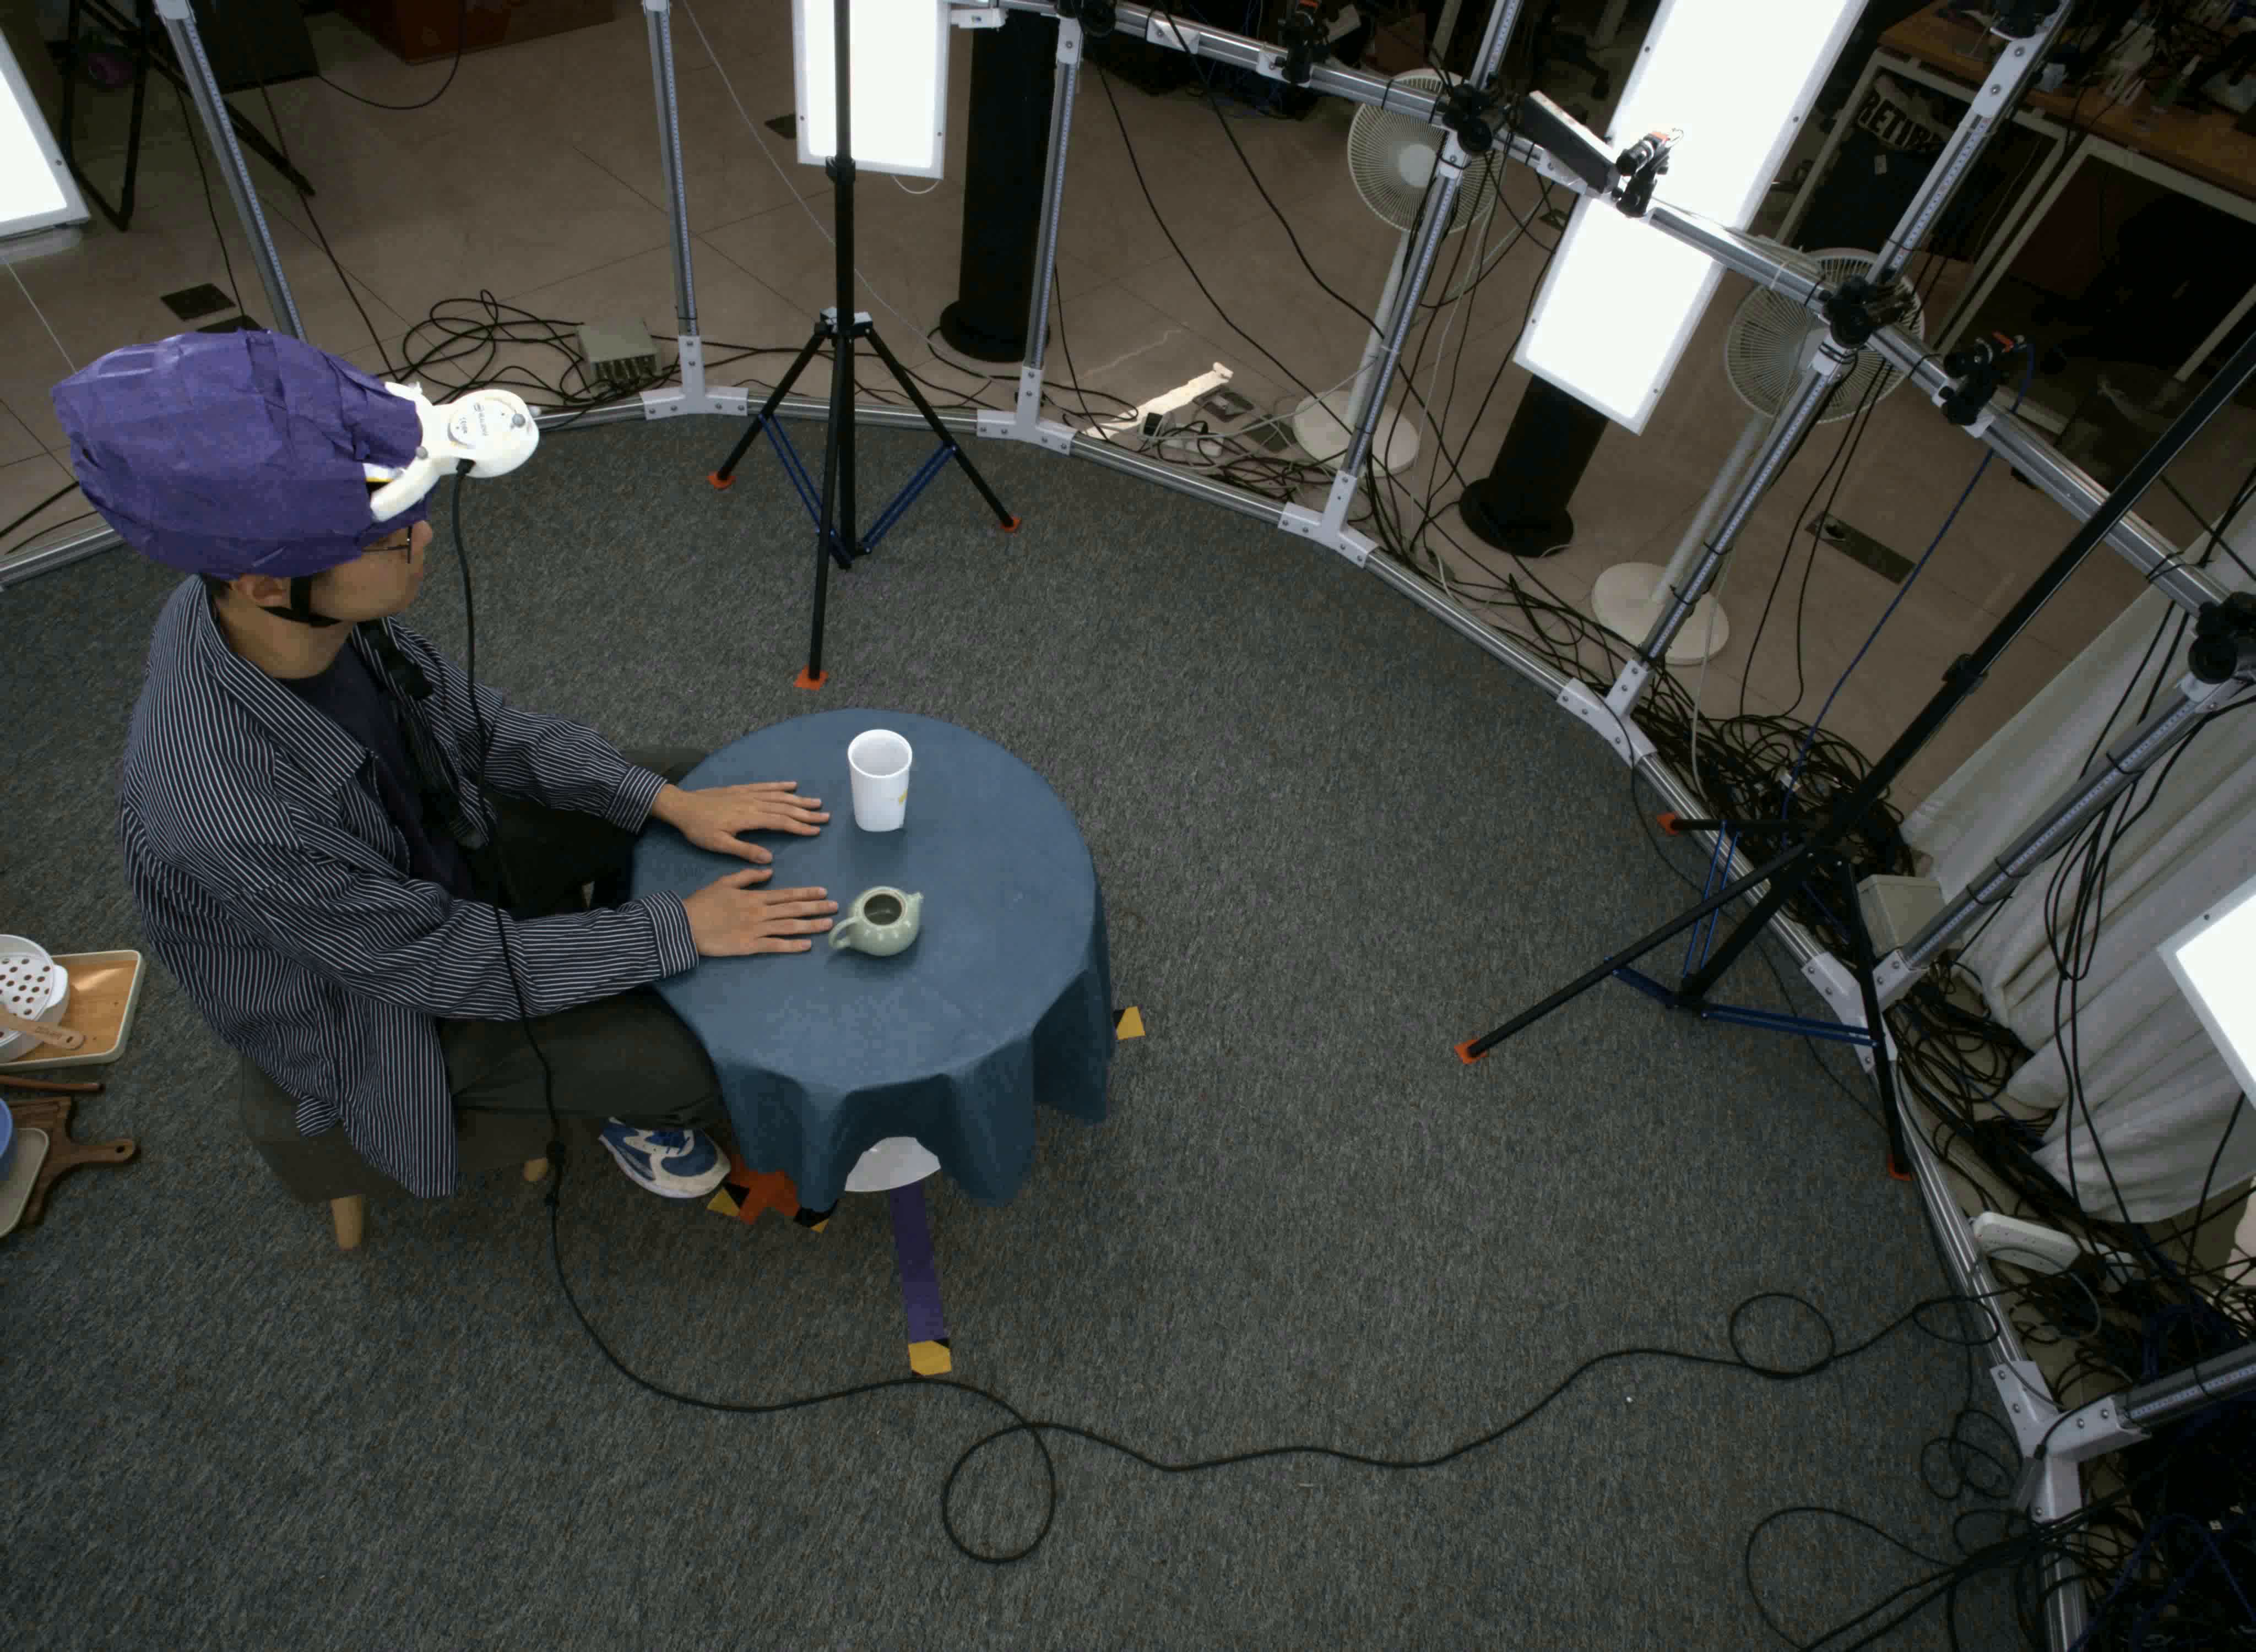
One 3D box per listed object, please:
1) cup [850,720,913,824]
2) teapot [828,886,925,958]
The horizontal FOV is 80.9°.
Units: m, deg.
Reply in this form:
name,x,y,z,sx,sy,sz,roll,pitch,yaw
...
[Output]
name,x,y,z,sx,sy,sz,roll,pitch,yaw
cup,-0.329,-0.068,1.730,0.081,0.128,0.080,6,52,-7
teapot,-0.316,0.123,1.638,0.129,0.062,0.089,-17,61,-23
